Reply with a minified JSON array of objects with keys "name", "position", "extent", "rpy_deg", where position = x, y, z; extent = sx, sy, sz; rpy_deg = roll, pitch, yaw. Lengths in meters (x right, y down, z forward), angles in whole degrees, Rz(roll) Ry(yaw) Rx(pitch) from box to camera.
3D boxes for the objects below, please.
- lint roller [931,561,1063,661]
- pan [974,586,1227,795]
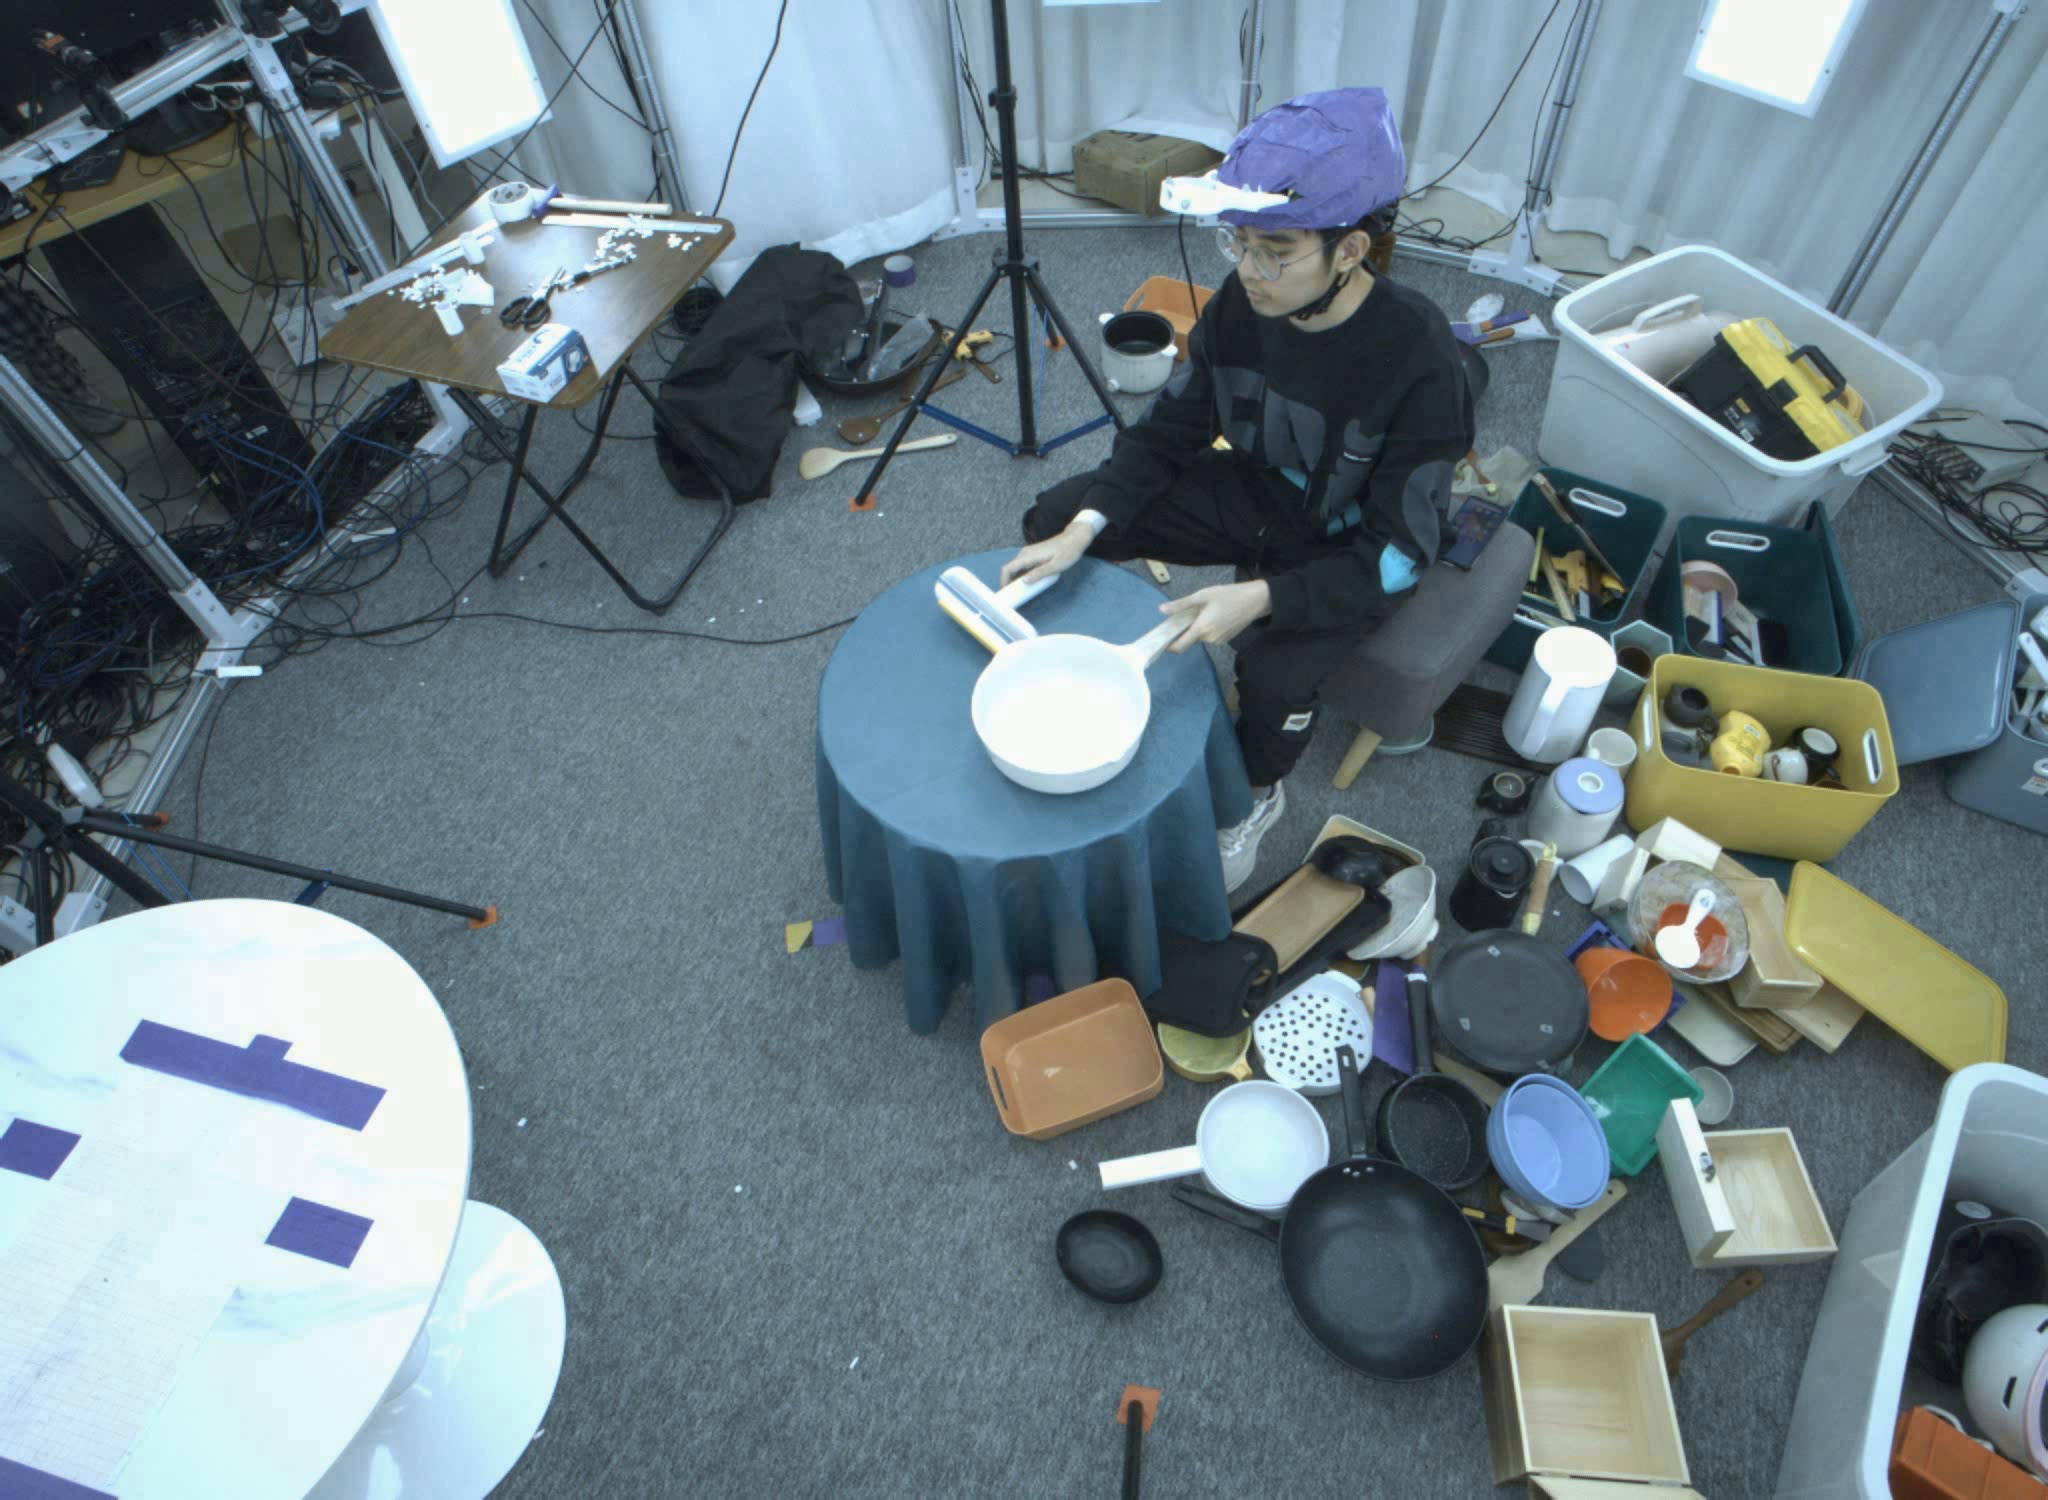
[{"name":"lint roller","position":[-0.020,-0.243,1.907],"extent":[0.193,0.075,0.190],"rpy_deg":[-39,68,-17]},{"name":"pan","position":[0.129,-0.096,1.785],"extent":[0.438,0.103,0.258],"rpy_deg":[-33,57,-19]}]
